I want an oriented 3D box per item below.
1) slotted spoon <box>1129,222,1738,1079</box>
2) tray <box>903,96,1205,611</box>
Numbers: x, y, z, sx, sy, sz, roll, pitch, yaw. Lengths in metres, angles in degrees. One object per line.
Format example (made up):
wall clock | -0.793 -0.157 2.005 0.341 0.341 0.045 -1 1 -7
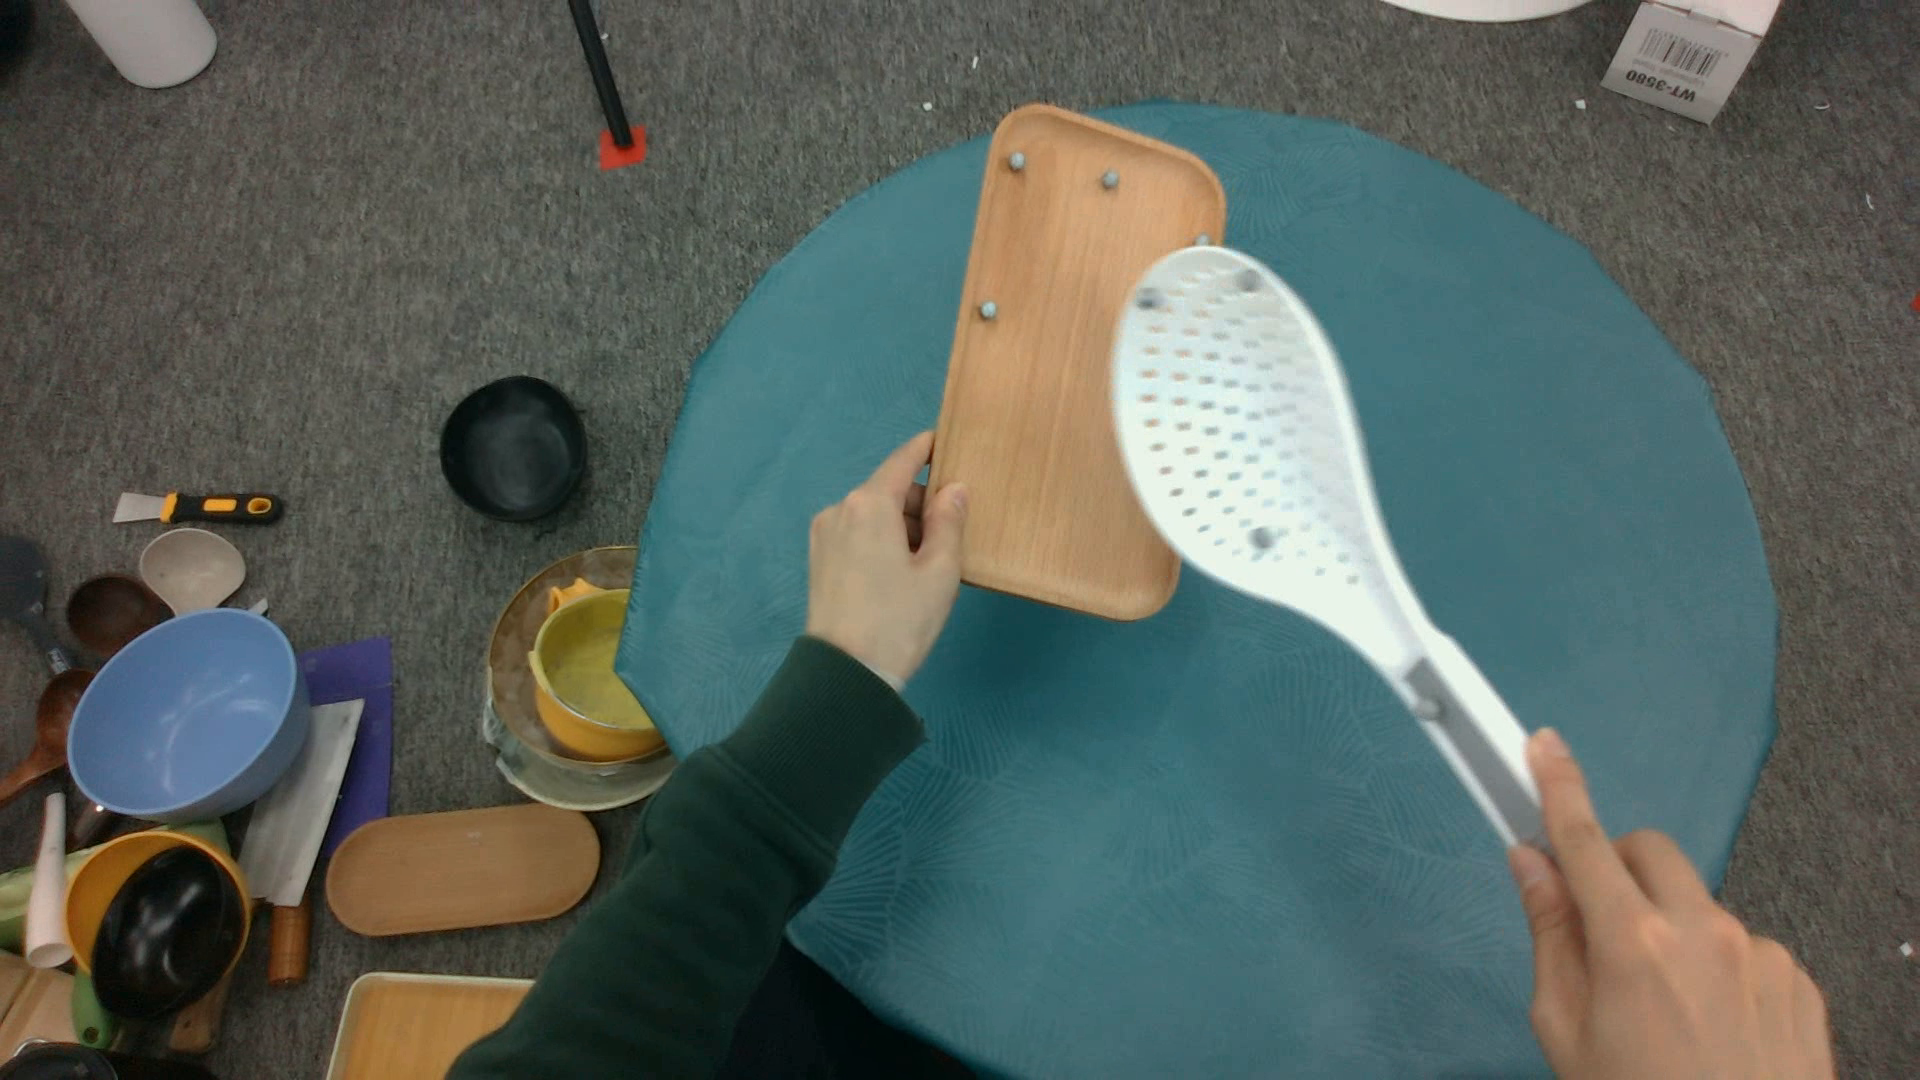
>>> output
slotted spoon | 0.155 0.024 0.499 0.046 0.135 0.351 -7 54 -22
tray | 0.049 -0.093 0.663 0.130 0.023 0.251 14 72 -12
